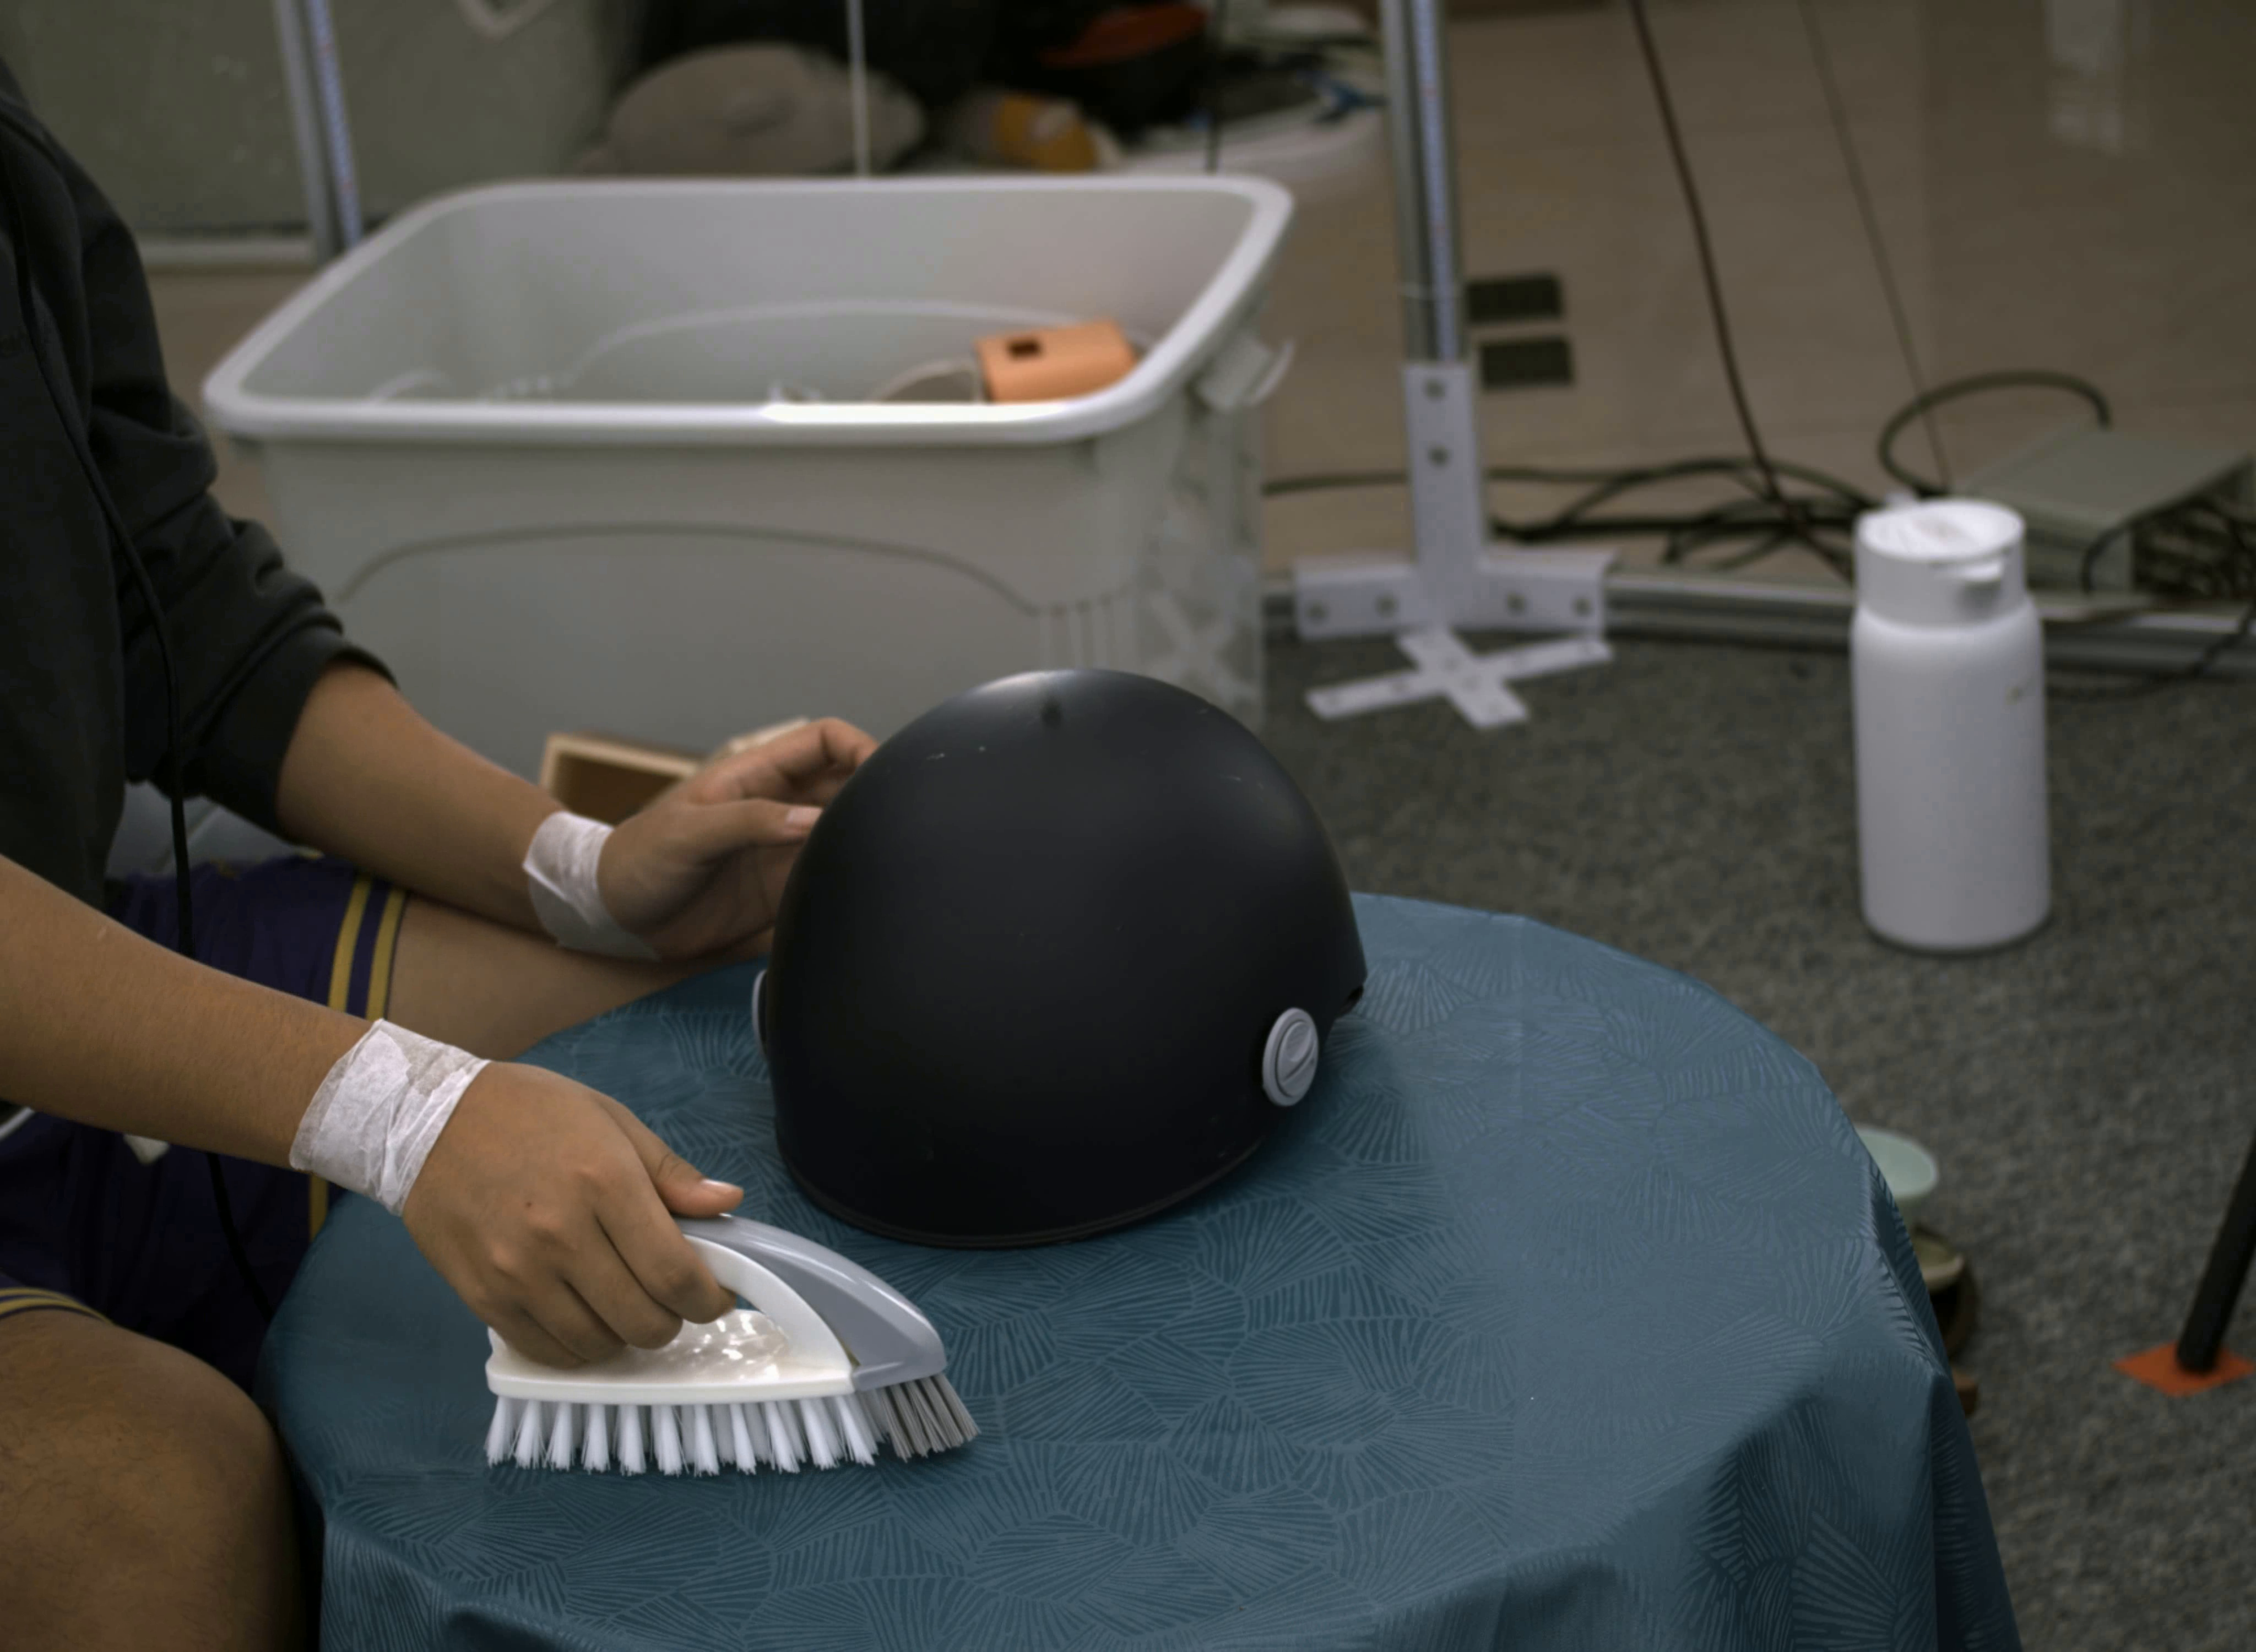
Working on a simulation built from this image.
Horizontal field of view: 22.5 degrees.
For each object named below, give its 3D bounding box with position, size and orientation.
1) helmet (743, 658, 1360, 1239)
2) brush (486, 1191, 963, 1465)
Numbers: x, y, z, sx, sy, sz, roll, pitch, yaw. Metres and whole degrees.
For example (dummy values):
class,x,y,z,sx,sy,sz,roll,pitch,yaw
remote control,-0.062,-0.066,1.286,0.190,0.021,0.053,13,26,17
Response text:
class,x,y,z,sx,sy,sz,roll,pitch,yaw
helmet,-0.033,0.031,2.196,0.229,0.169,0.269,5,29,23
brush,-0.144,0.174,1.996,0.175,0.096,0.060,5,27,17
